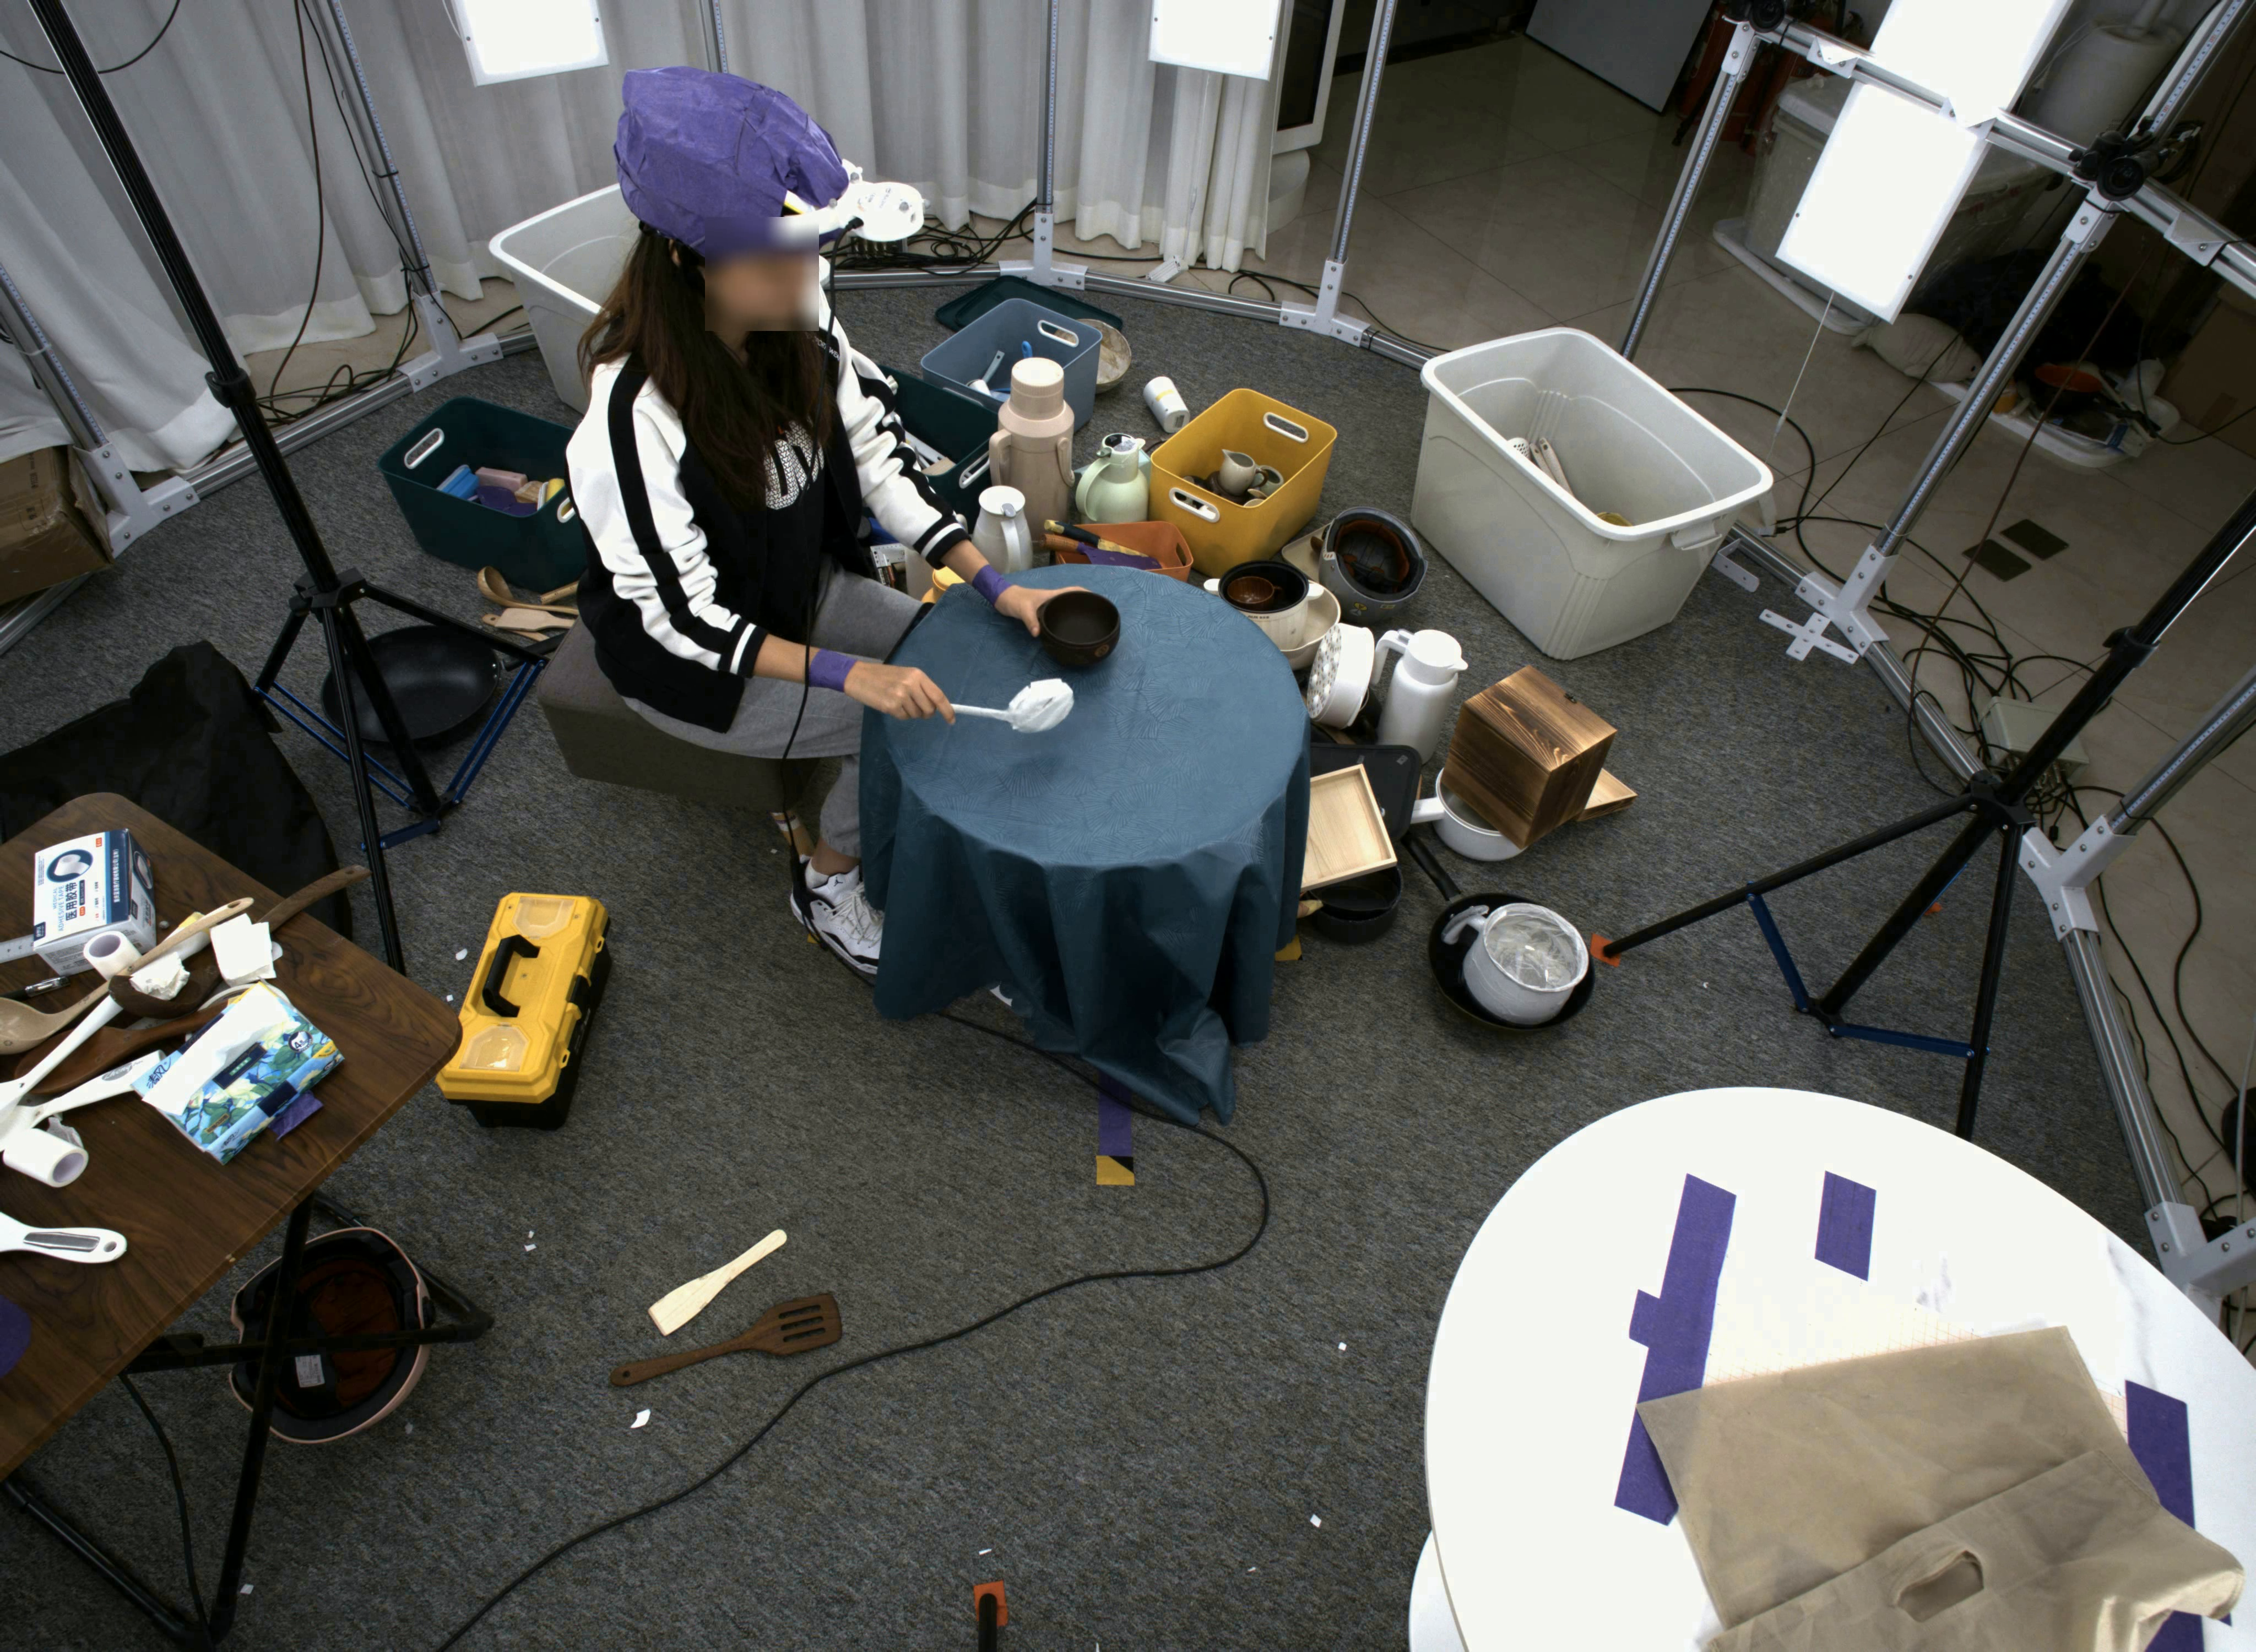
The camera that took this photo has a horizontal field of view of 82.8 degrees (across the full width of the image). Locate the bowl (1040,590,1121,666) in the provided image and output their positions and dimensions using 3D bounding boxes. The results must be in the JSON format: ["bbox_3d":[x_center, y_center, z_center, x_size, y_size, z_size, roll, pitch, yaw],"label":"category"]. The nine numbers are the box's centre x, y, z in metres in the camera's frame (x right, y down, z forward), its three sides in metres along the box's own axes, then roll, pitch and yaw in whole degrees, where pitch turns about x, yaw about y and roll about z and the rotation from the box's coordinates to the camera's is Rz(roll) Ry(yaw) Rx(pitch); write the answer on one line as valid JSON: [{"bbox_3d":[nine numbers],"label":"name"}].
[{"bbox_3d":[-0.069,-0.278,1.859,0.118,0.068,0.121,2,49,-3],"label":"bowl"}]

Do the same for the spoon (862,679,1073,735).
[{"bbox_3d":[-0.214,-0.168,1.721,0.278,0.098,0.061,8,45,9],"label":"spoon"}]
